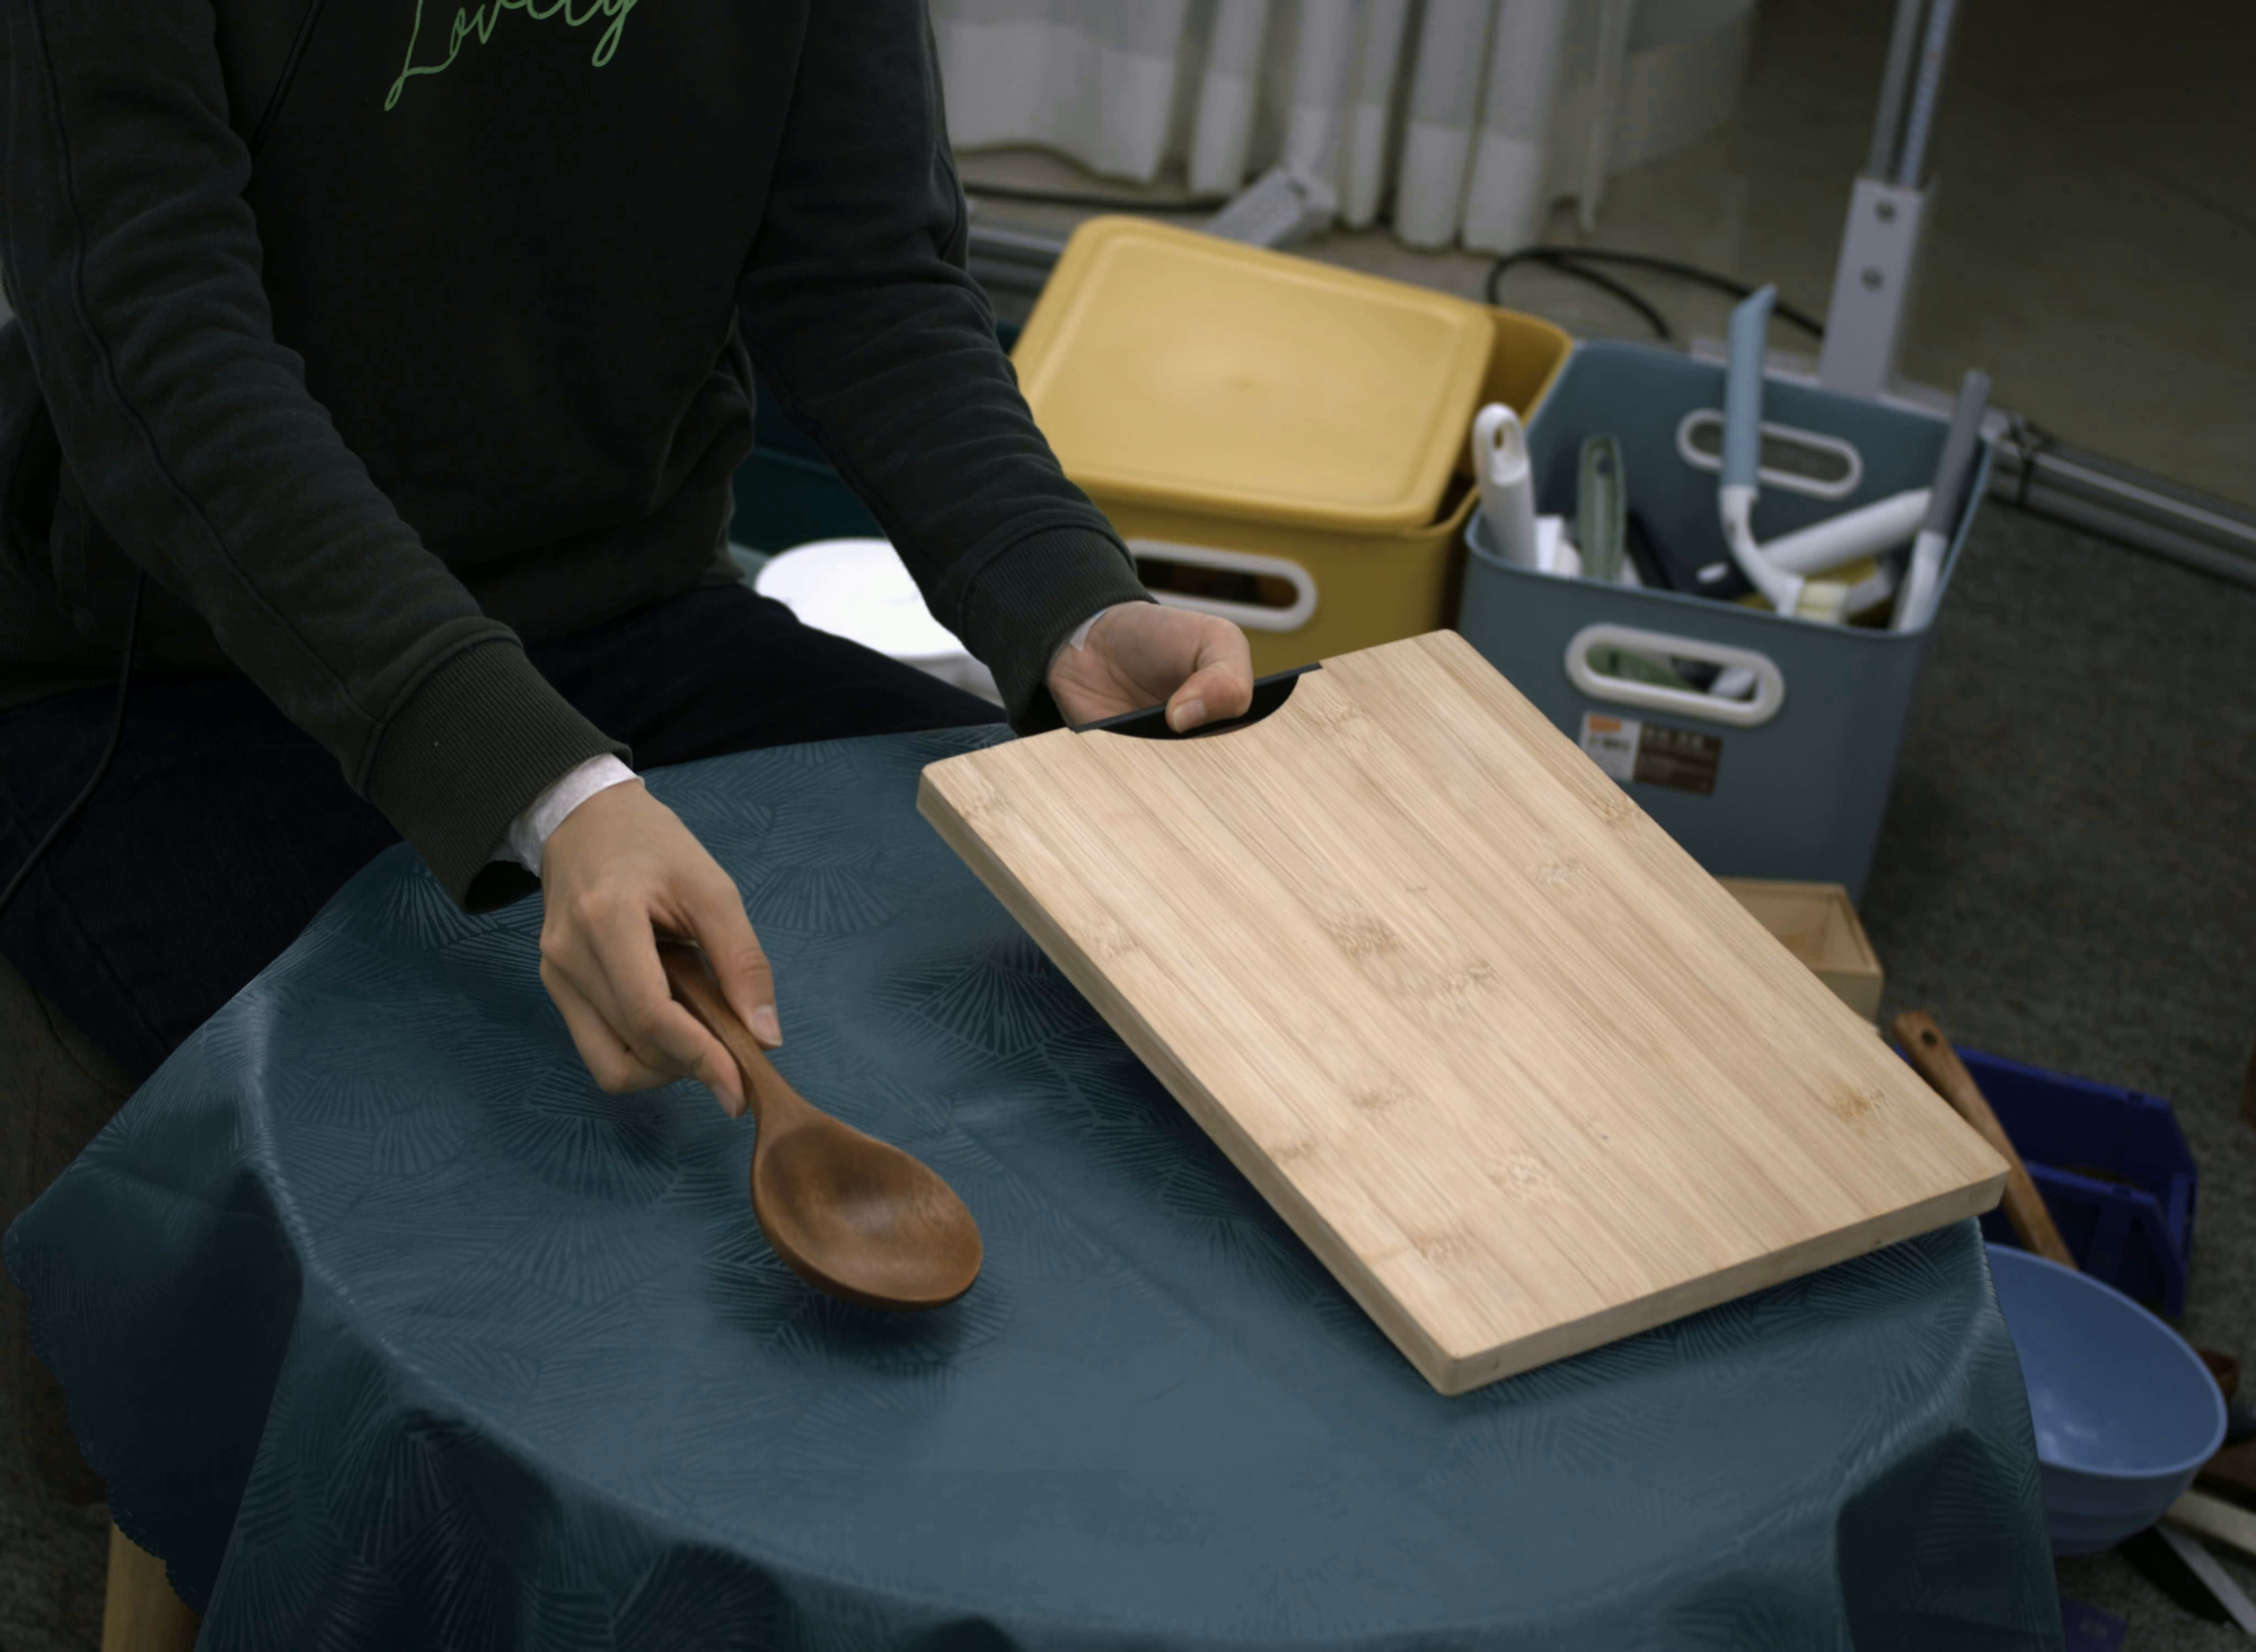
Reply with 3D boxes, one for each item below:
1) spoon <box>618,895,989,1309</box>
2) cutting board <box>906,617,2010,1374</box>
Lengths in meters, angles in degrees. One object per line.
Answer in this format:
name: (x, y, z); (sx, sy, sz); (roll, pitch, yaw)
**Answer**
spoon: (-0.116, 0.092, 1.762); (0.075, 0.017, 0.218); (-7, 40, -32)
cutting board: (0.110, 0.051, 1.872); (0.249, 0.023, 0.352); (-15, 43, -31)
